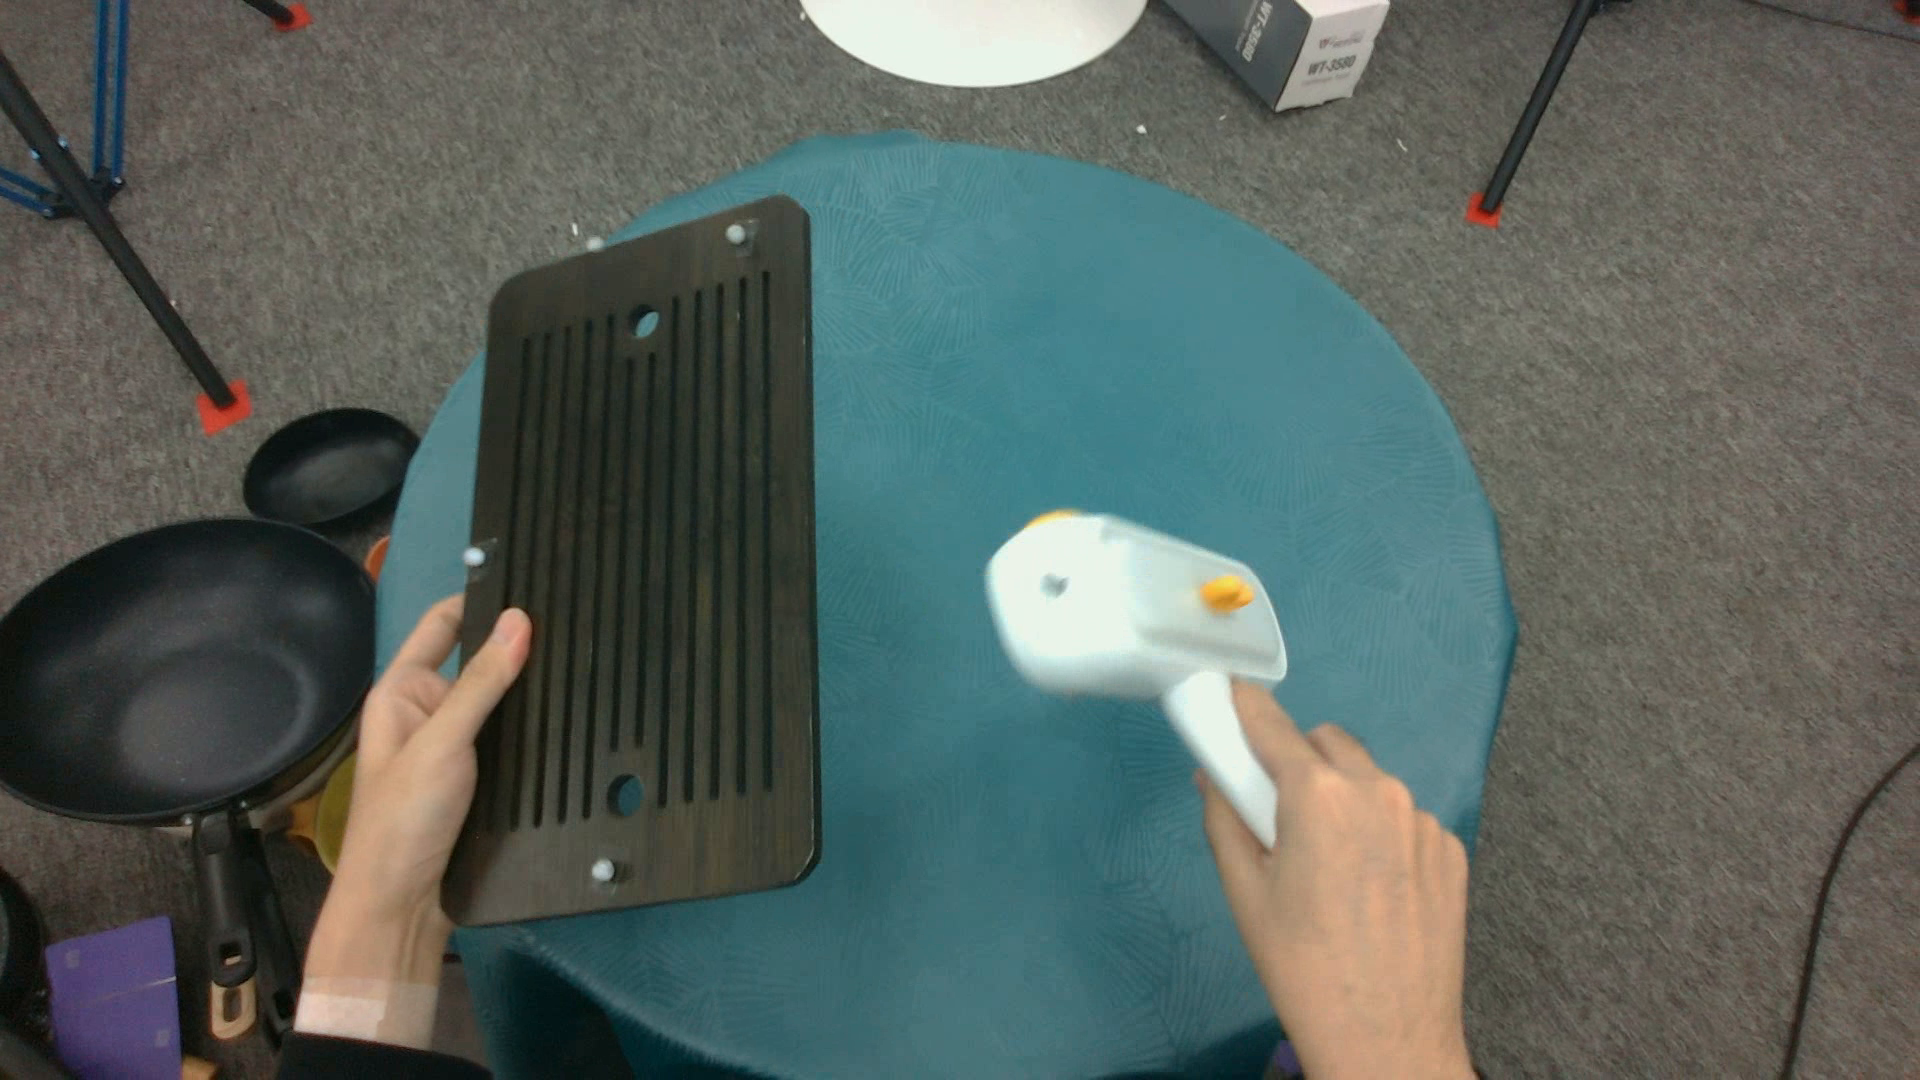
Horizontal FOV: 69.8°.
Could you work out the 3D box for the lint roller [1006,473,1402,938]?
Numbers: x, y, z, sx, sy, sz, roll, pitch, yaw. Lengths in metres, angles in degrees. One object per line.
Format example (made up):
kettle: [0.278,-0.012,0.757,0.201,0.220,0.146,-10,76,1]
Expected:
lint roller: [0.104,0.069,0.541,0.074,0.193,0.193,-28,72,18]

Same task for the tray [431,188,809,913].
tray: [-0.144,-0.003,0.594,0.170,0.018,0.307,-11,67,17]
